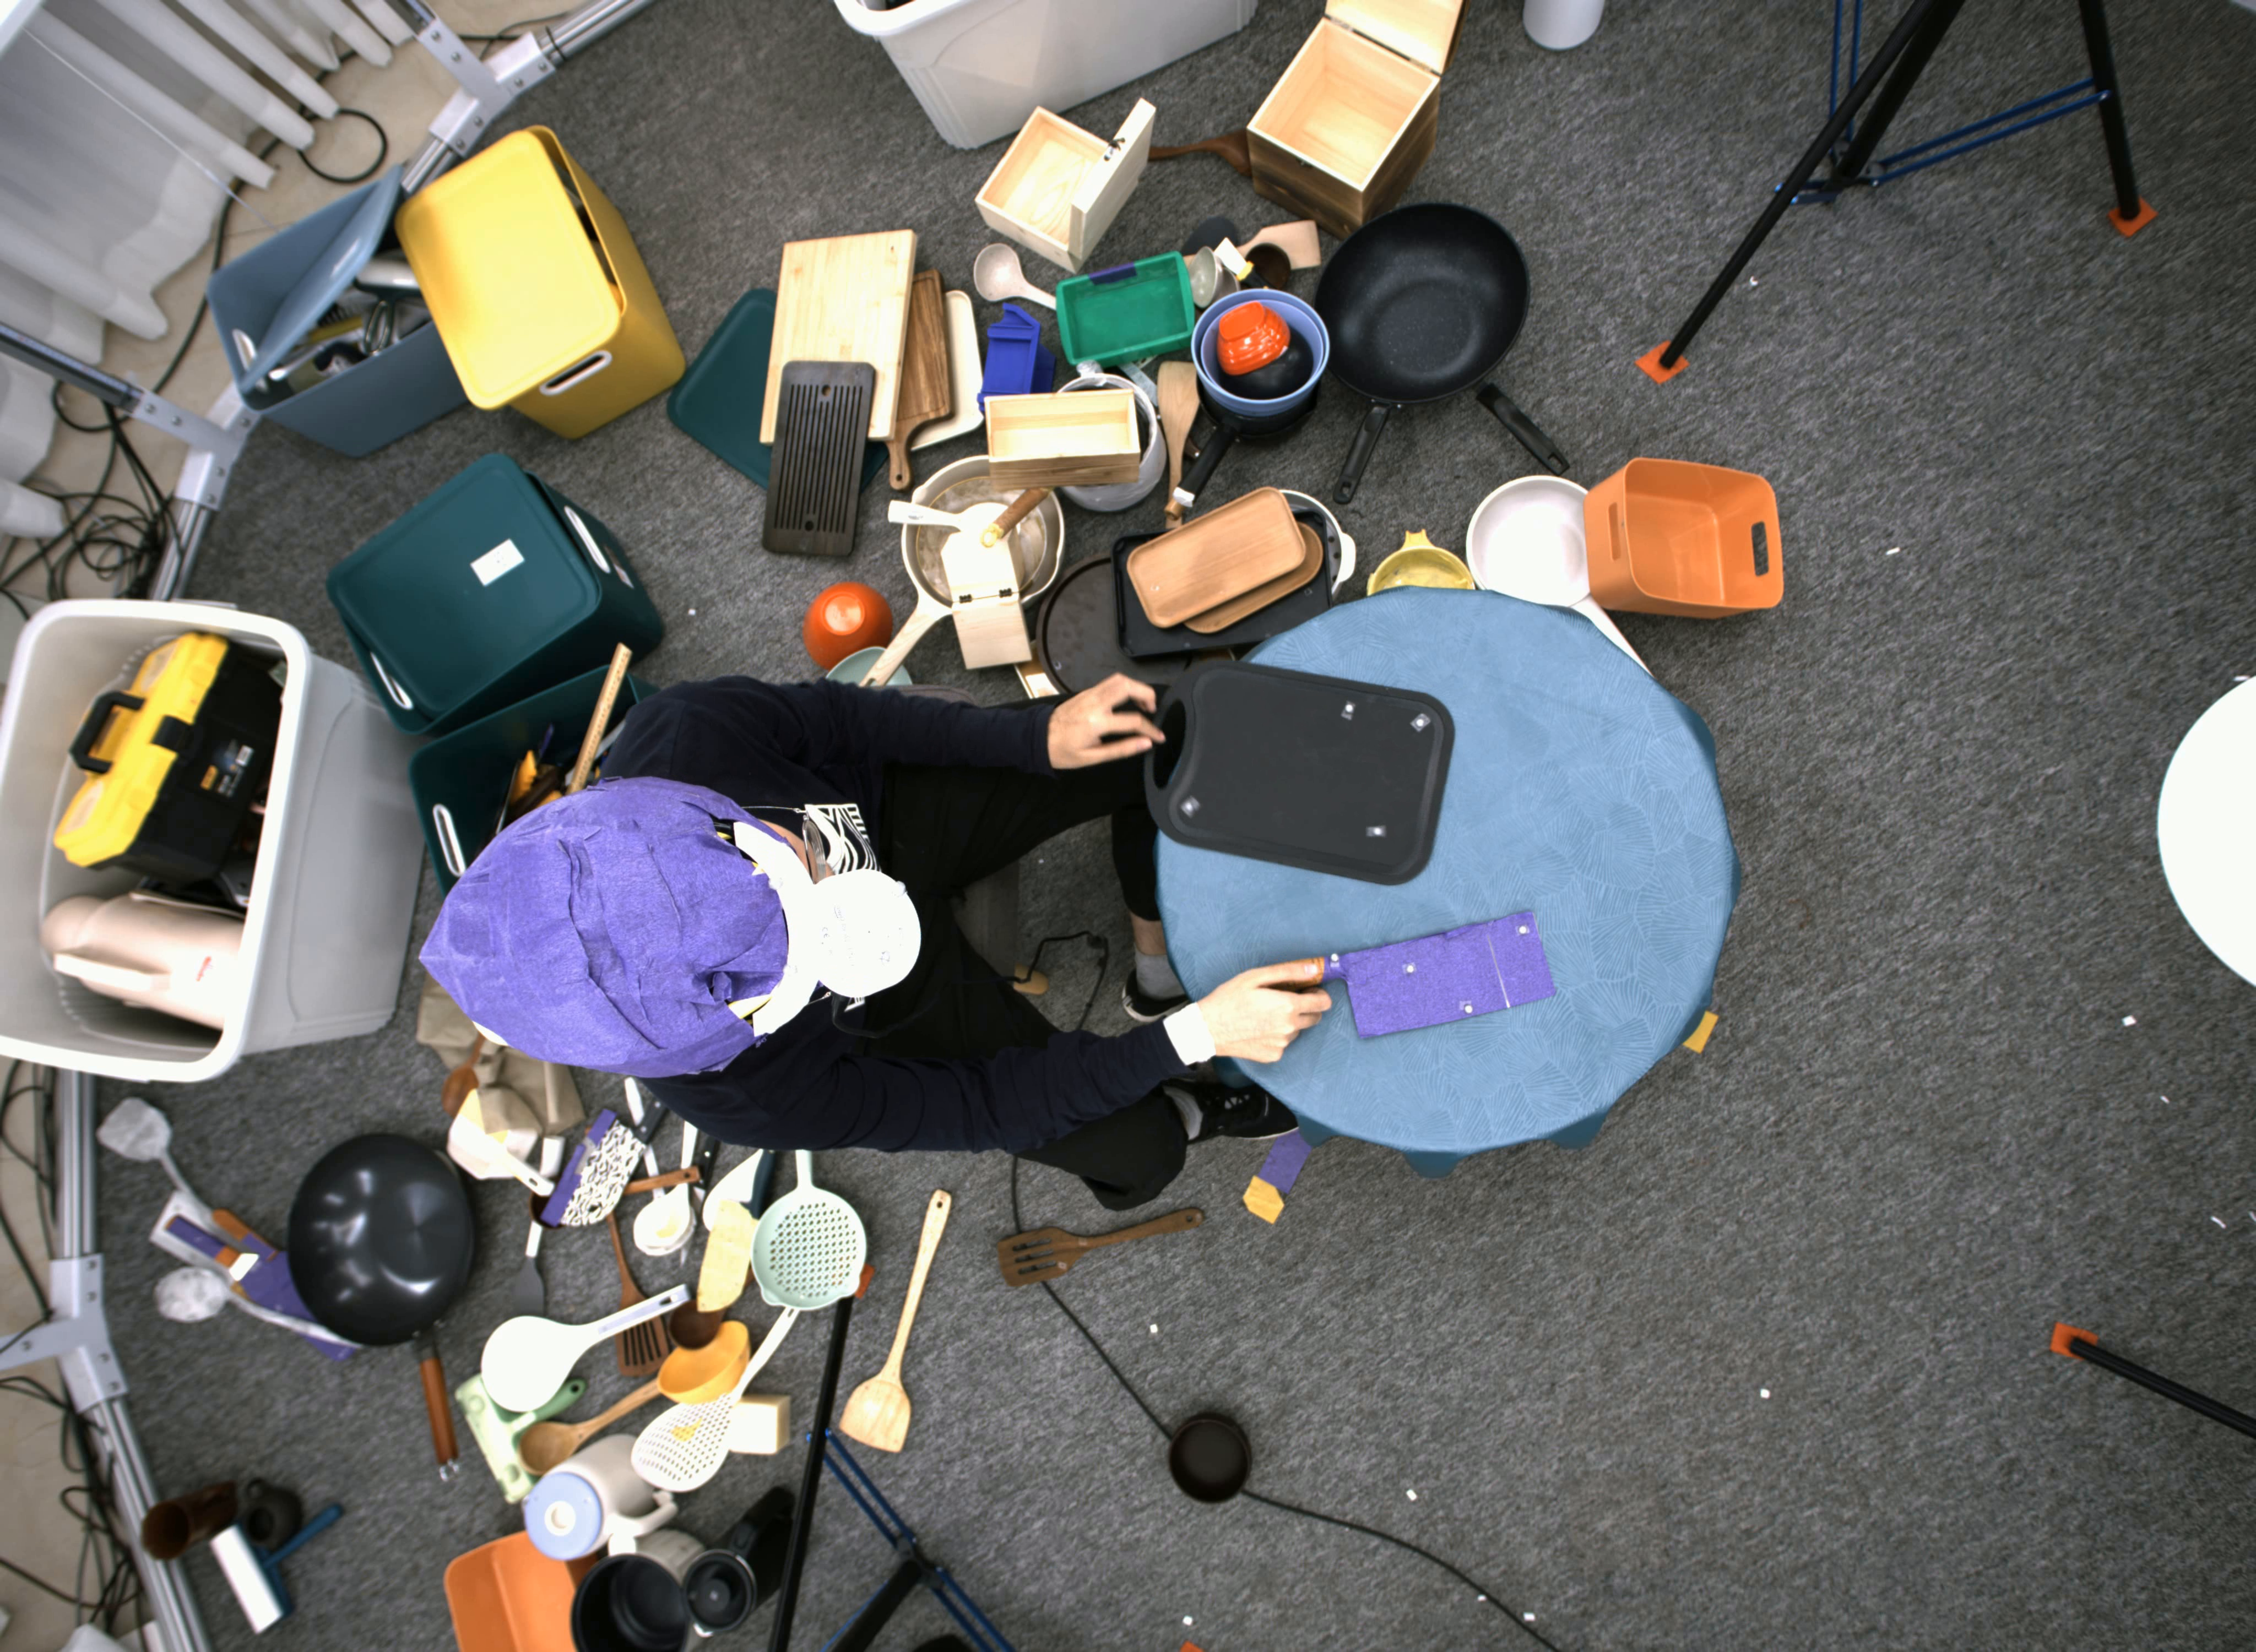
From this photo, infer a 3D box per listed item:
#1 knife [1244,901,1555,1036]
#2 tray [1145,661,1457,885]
[{"bbox_3d":[0.282,0.163,1.439,0.317,0.032,0.103,-15,84,9],"label":"knife"},{"bbox_3d":[0.179,-0.061,1.482,0.326,0.010,0.210,11,89,11],"label":"tray"}]
